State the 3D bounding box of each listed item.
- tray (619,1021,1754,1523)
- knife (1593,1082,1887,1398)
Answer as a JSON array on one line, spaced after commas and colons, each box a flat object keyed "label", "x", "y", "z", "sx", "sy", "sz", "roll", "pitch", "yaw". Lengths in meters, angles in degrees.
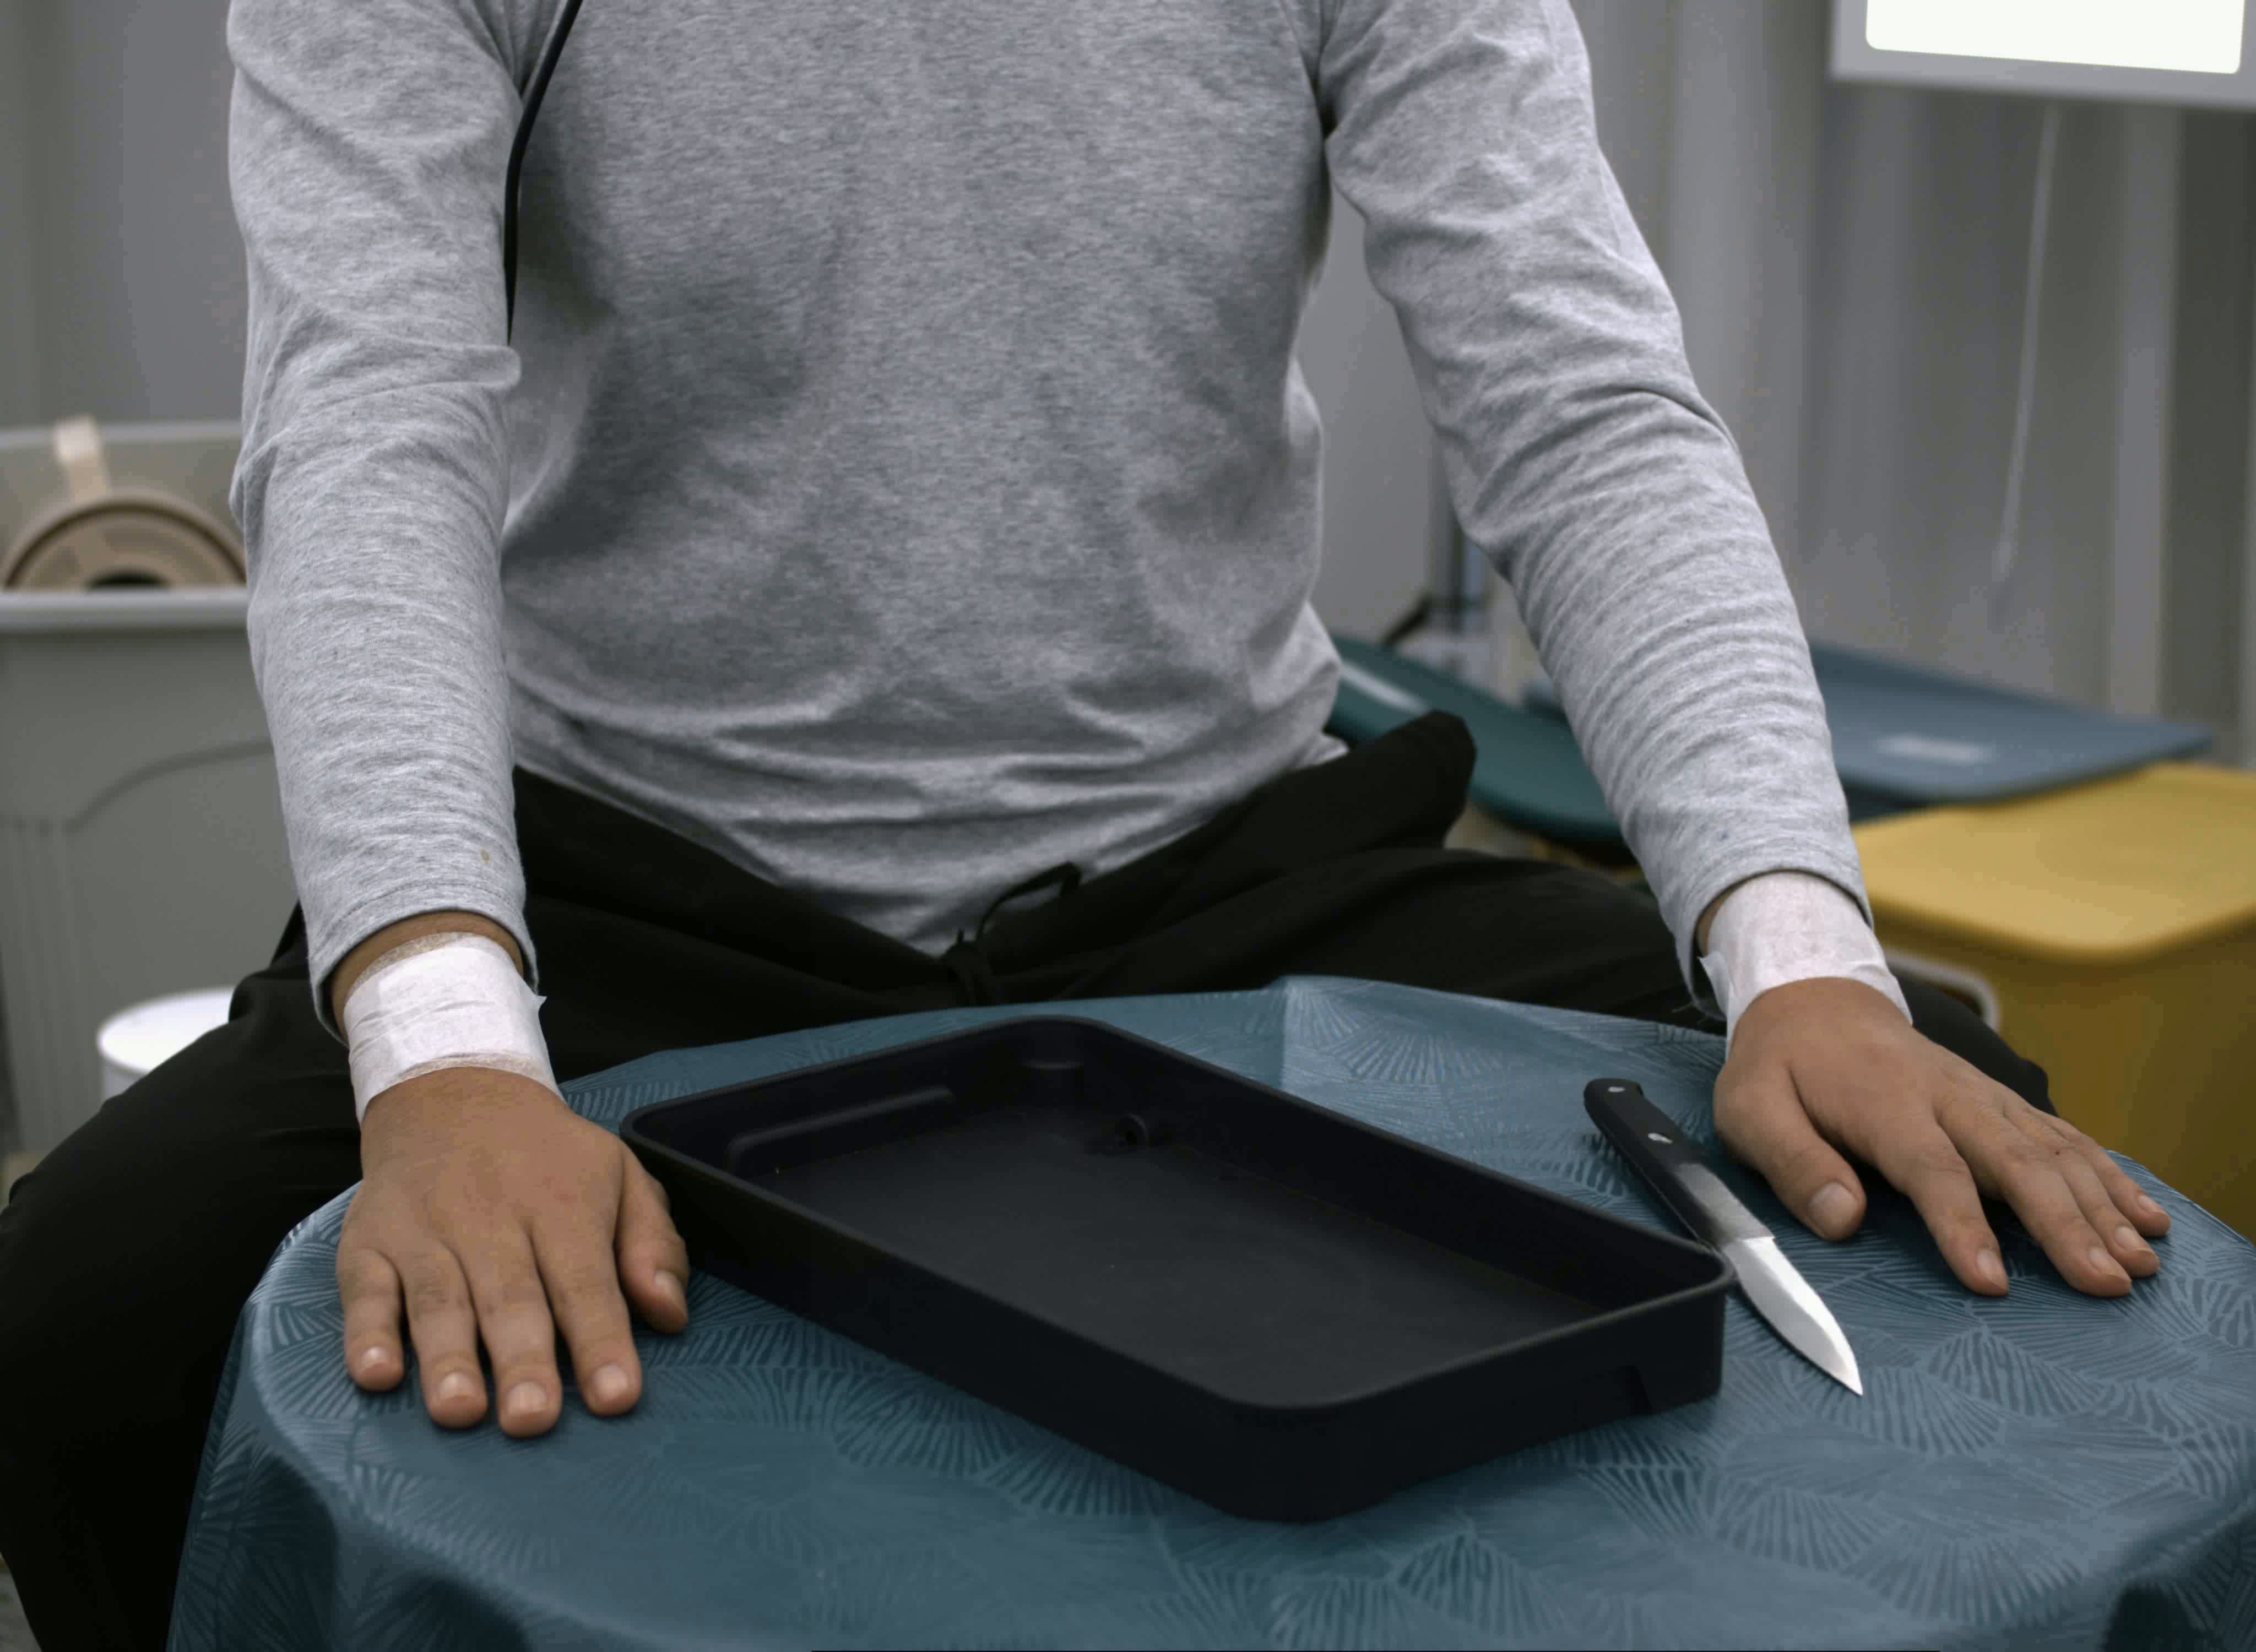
[{"label": "tray", "x": 0.011, "y": 0.122, "z": 1.522, "sx": 0.185, "sy": 0.037, "sz": 0.313, "roll": -12, "pitch": 19, "yaw": -40}, {"label": "knife", "x": 0.180, "y": 0.123, "z": 1.573, "sx": 0.024, "sy": 0.016, "sz": 0.236, "roll": -6, "pitch": 19, "yaw": -12}]
